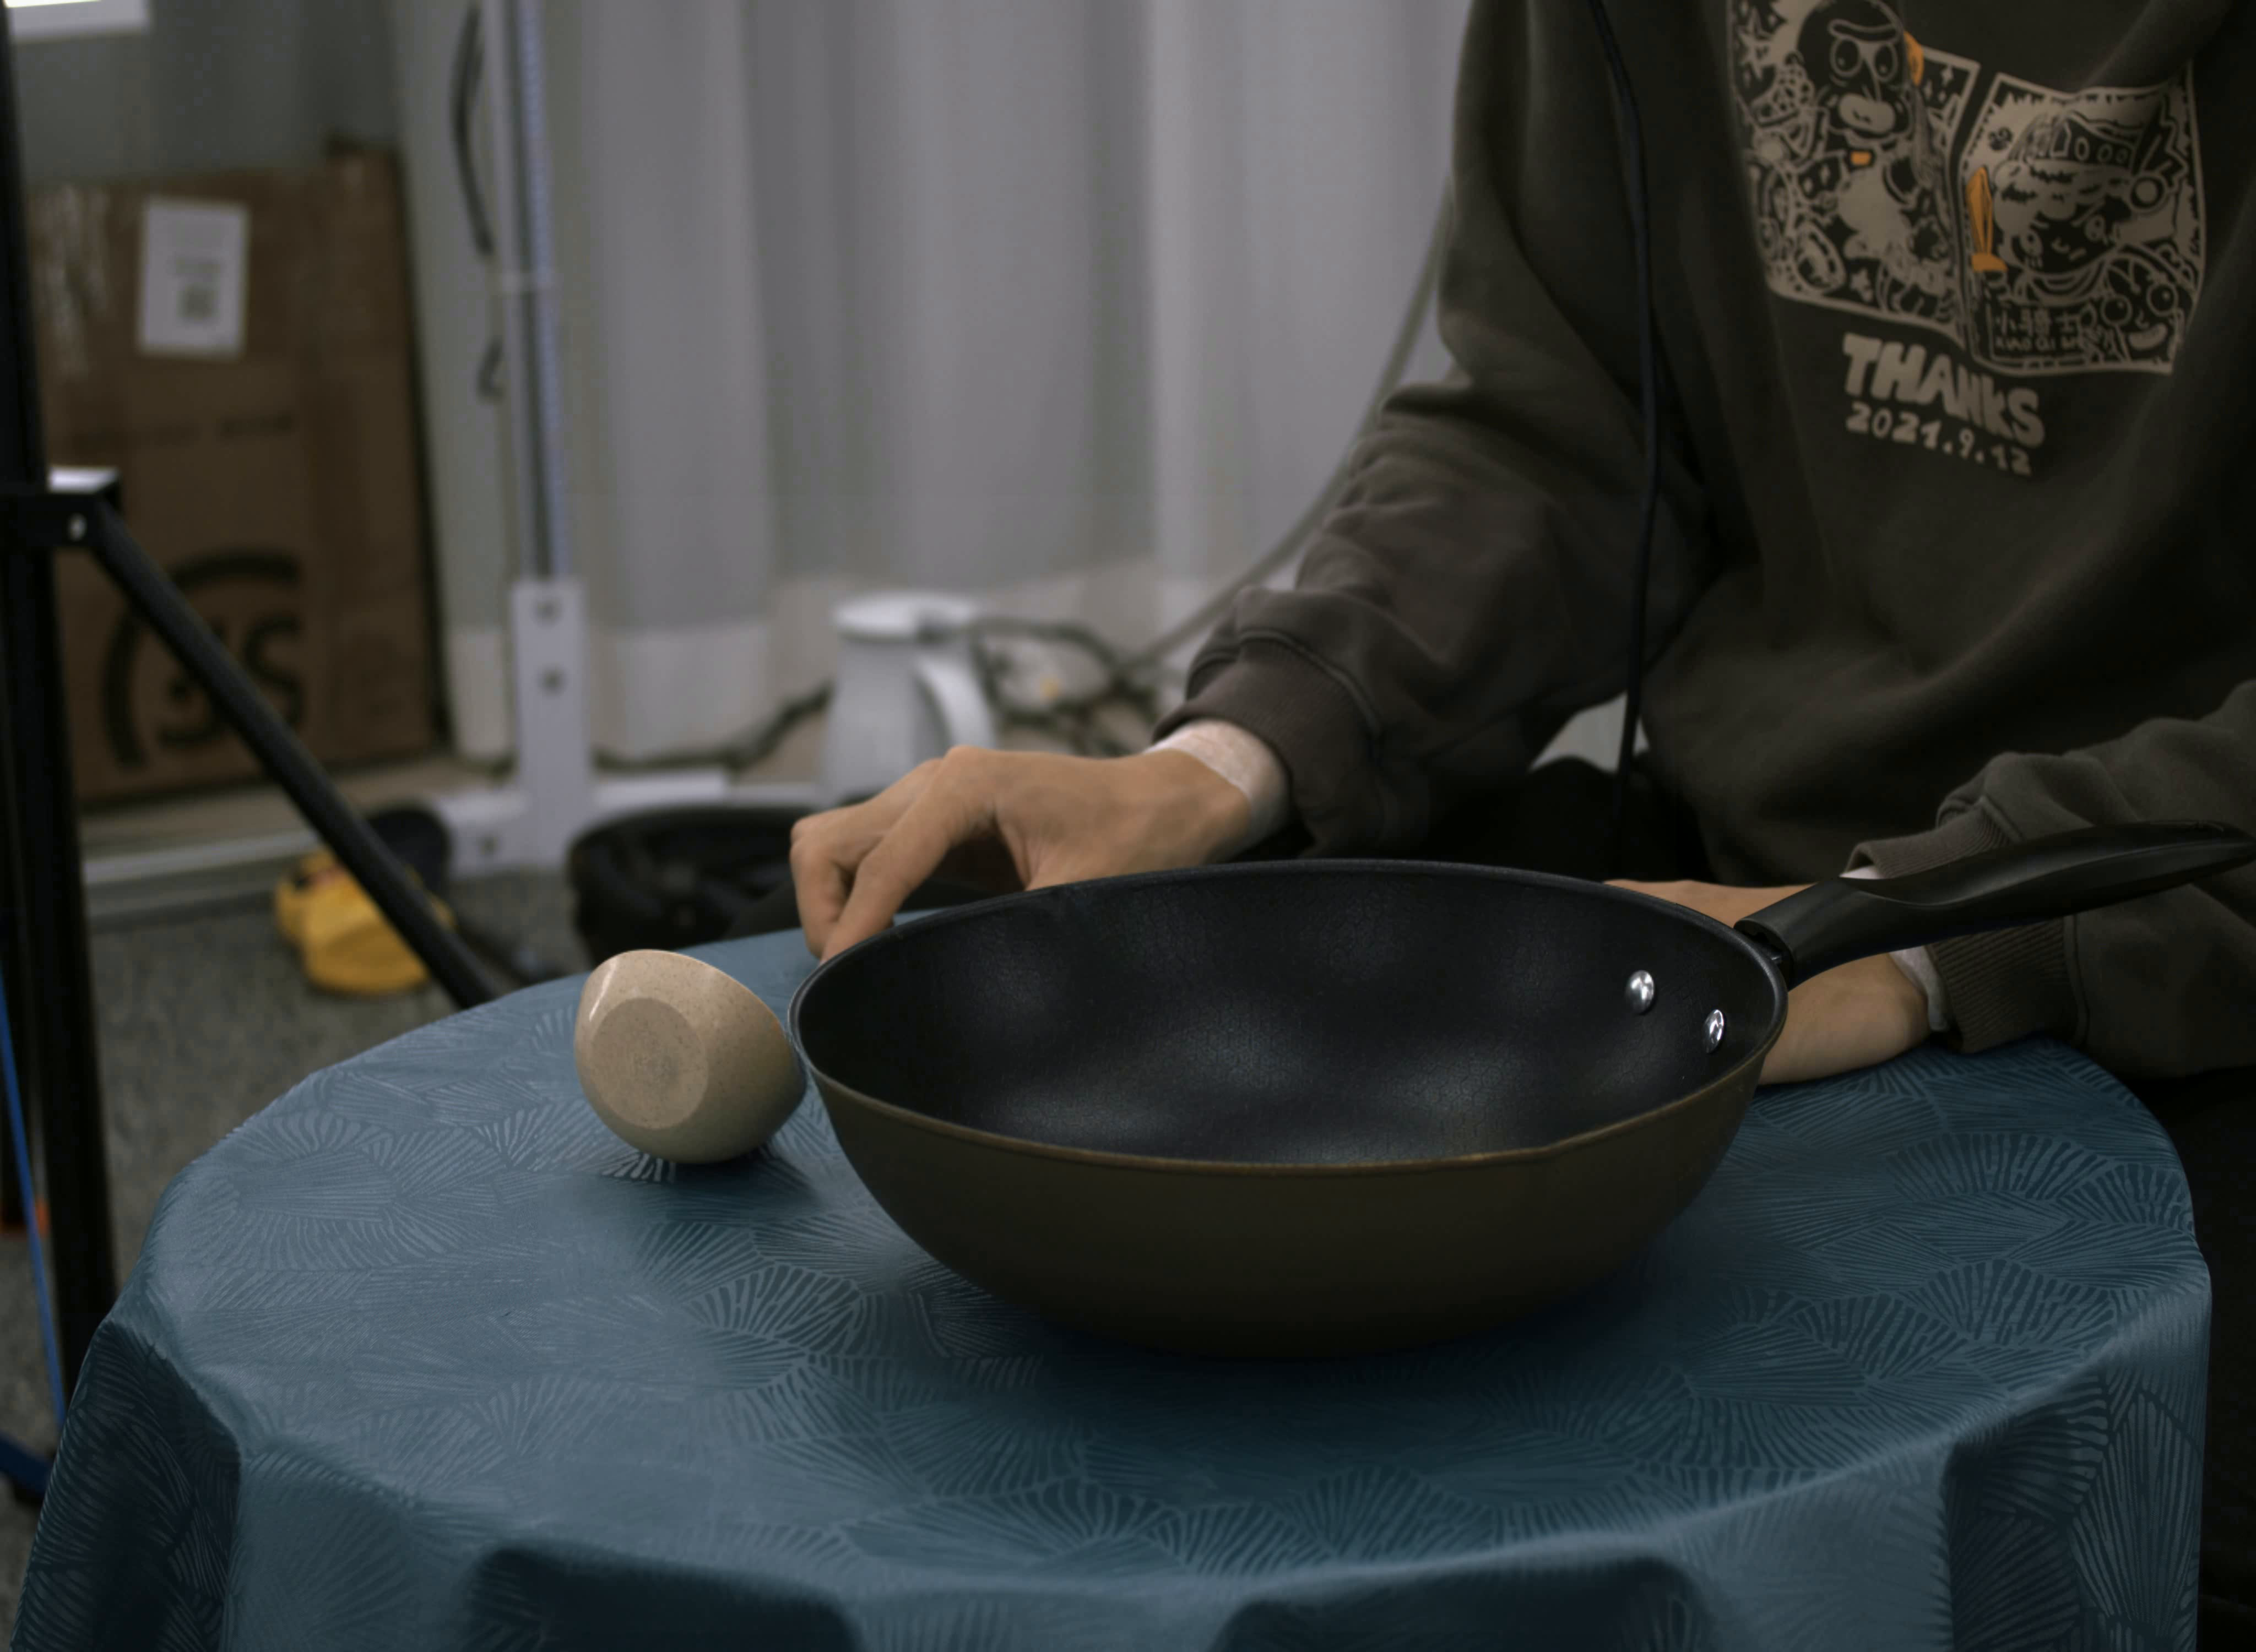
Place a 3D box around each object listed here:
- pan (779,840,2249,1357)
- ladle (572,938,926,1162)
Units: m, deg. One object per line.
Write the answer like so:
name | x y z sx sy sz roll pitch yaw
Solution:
pan | 0.125 0.071 1.520 0.454 0.087 0.294 -8 16 -23
ladle | -0.100 0.040 1.688 0.073 0.073 0.251 -1 15 20
